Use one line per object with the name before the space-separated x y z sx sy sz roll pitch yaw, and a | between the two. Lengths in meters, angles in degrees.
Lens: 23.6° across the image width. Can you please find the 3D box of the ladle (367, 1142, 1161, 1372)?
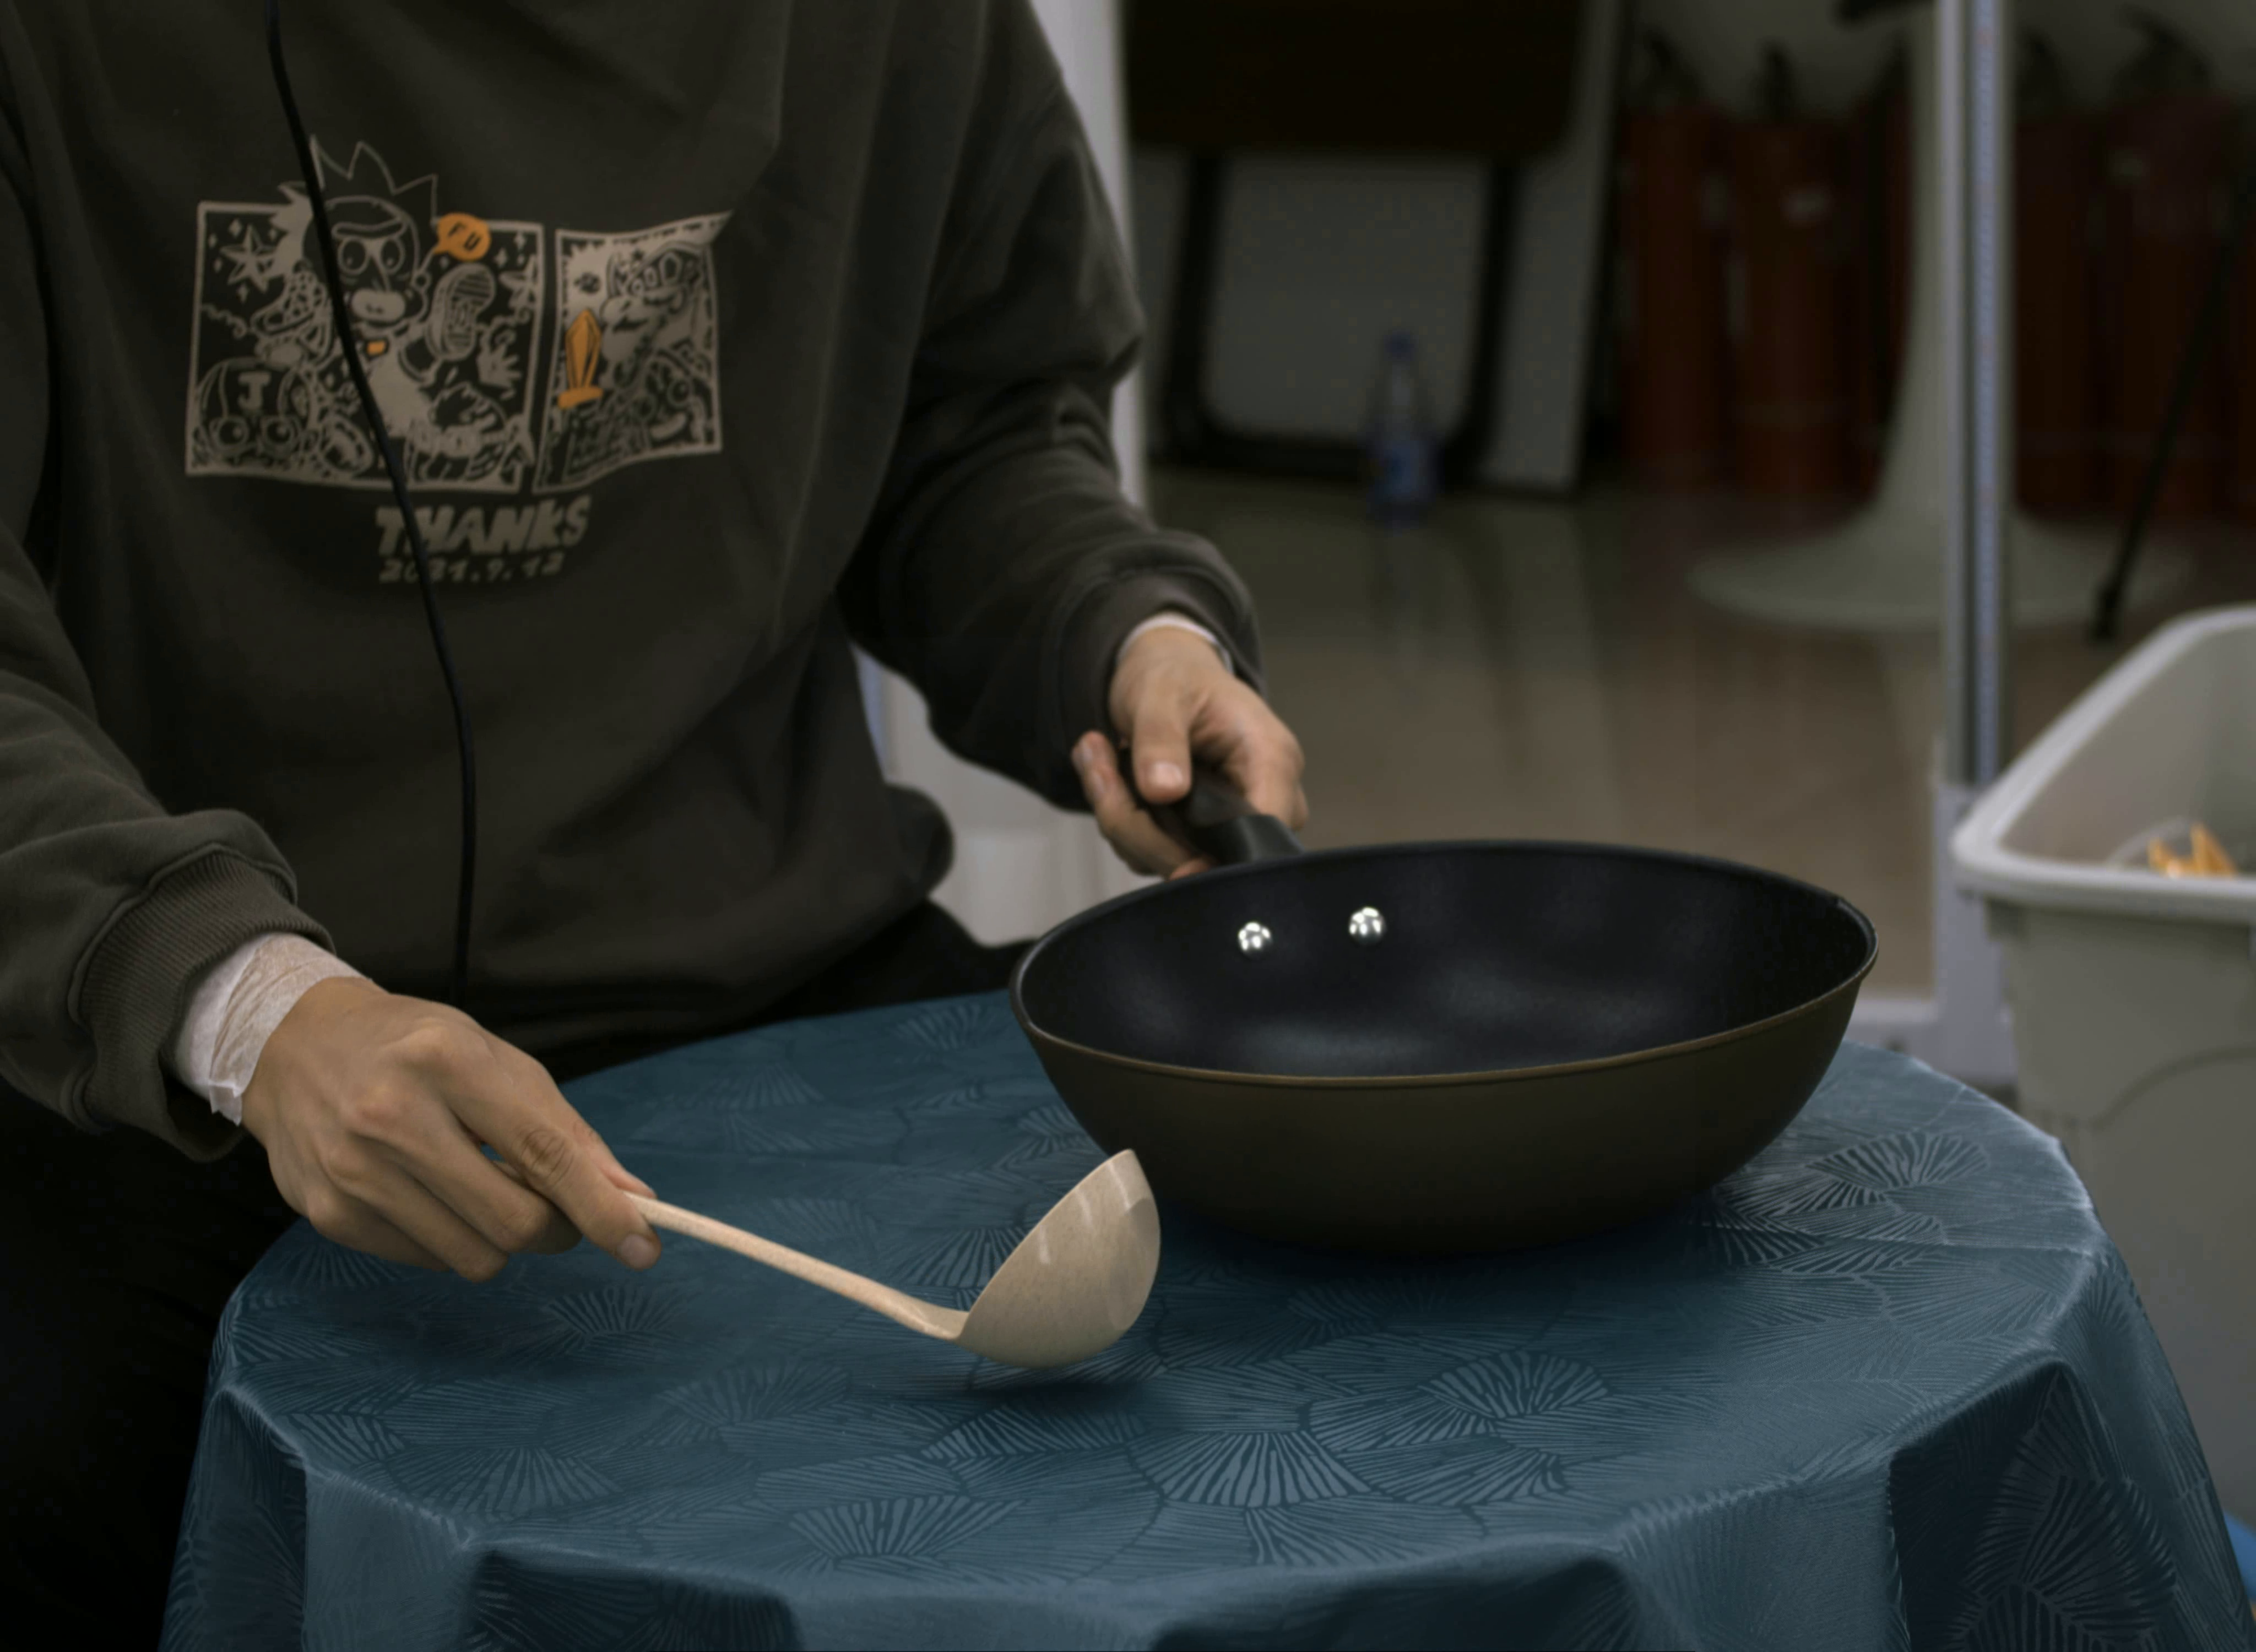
ladle | -0.111 0.100 1.614 0.254 0.073 0.071 15 15 20

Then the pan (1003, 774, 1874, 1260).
pan | 0.074 0.061 1.828 0.282 0.088 0.467 -8 13 -16
